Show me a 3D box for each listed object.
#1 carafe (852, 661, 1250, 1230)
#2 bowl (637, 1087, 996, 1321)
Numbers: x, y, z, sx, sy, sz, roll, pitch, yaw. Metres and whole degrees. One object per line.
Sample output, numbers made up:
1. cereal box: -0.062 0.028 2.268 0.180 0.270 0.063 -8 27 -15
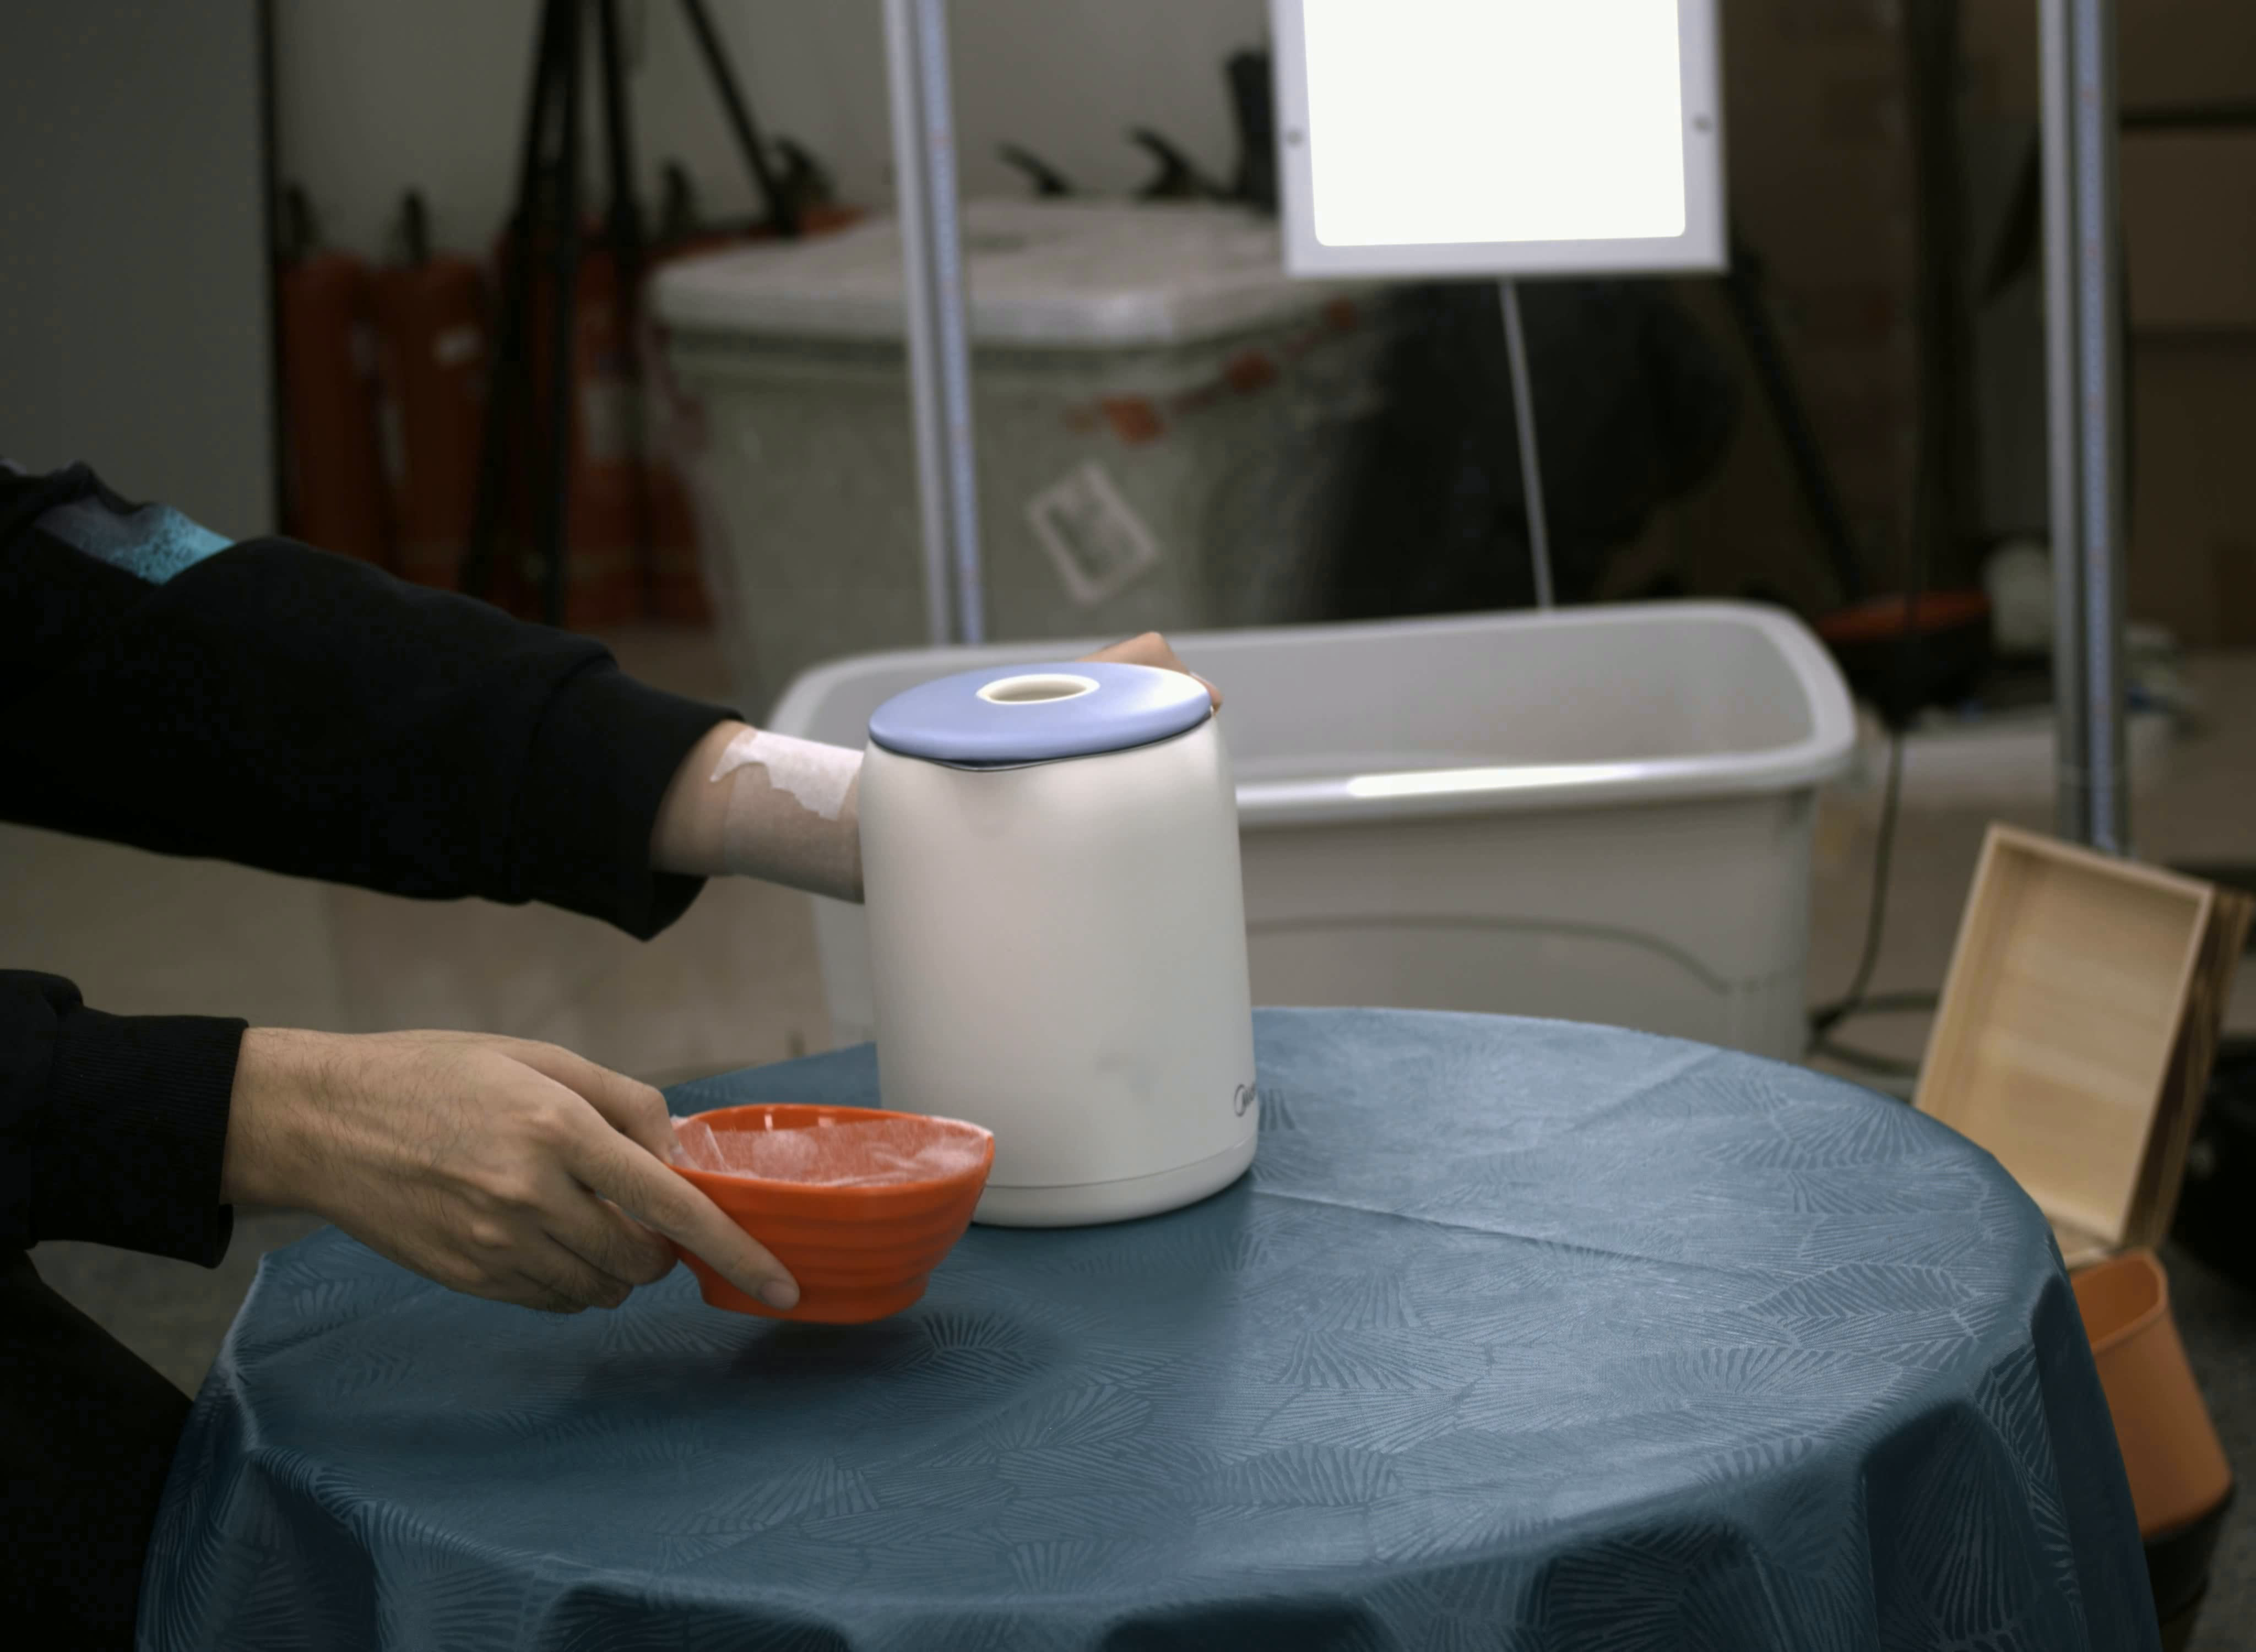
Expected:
1. carafe: -0.020 0.035 1.919 0.133 0.183 0.188 1 12 15
2. bowl: -0.100 0.122 1.763 0.118 0.051 0.119 2 13 -2
